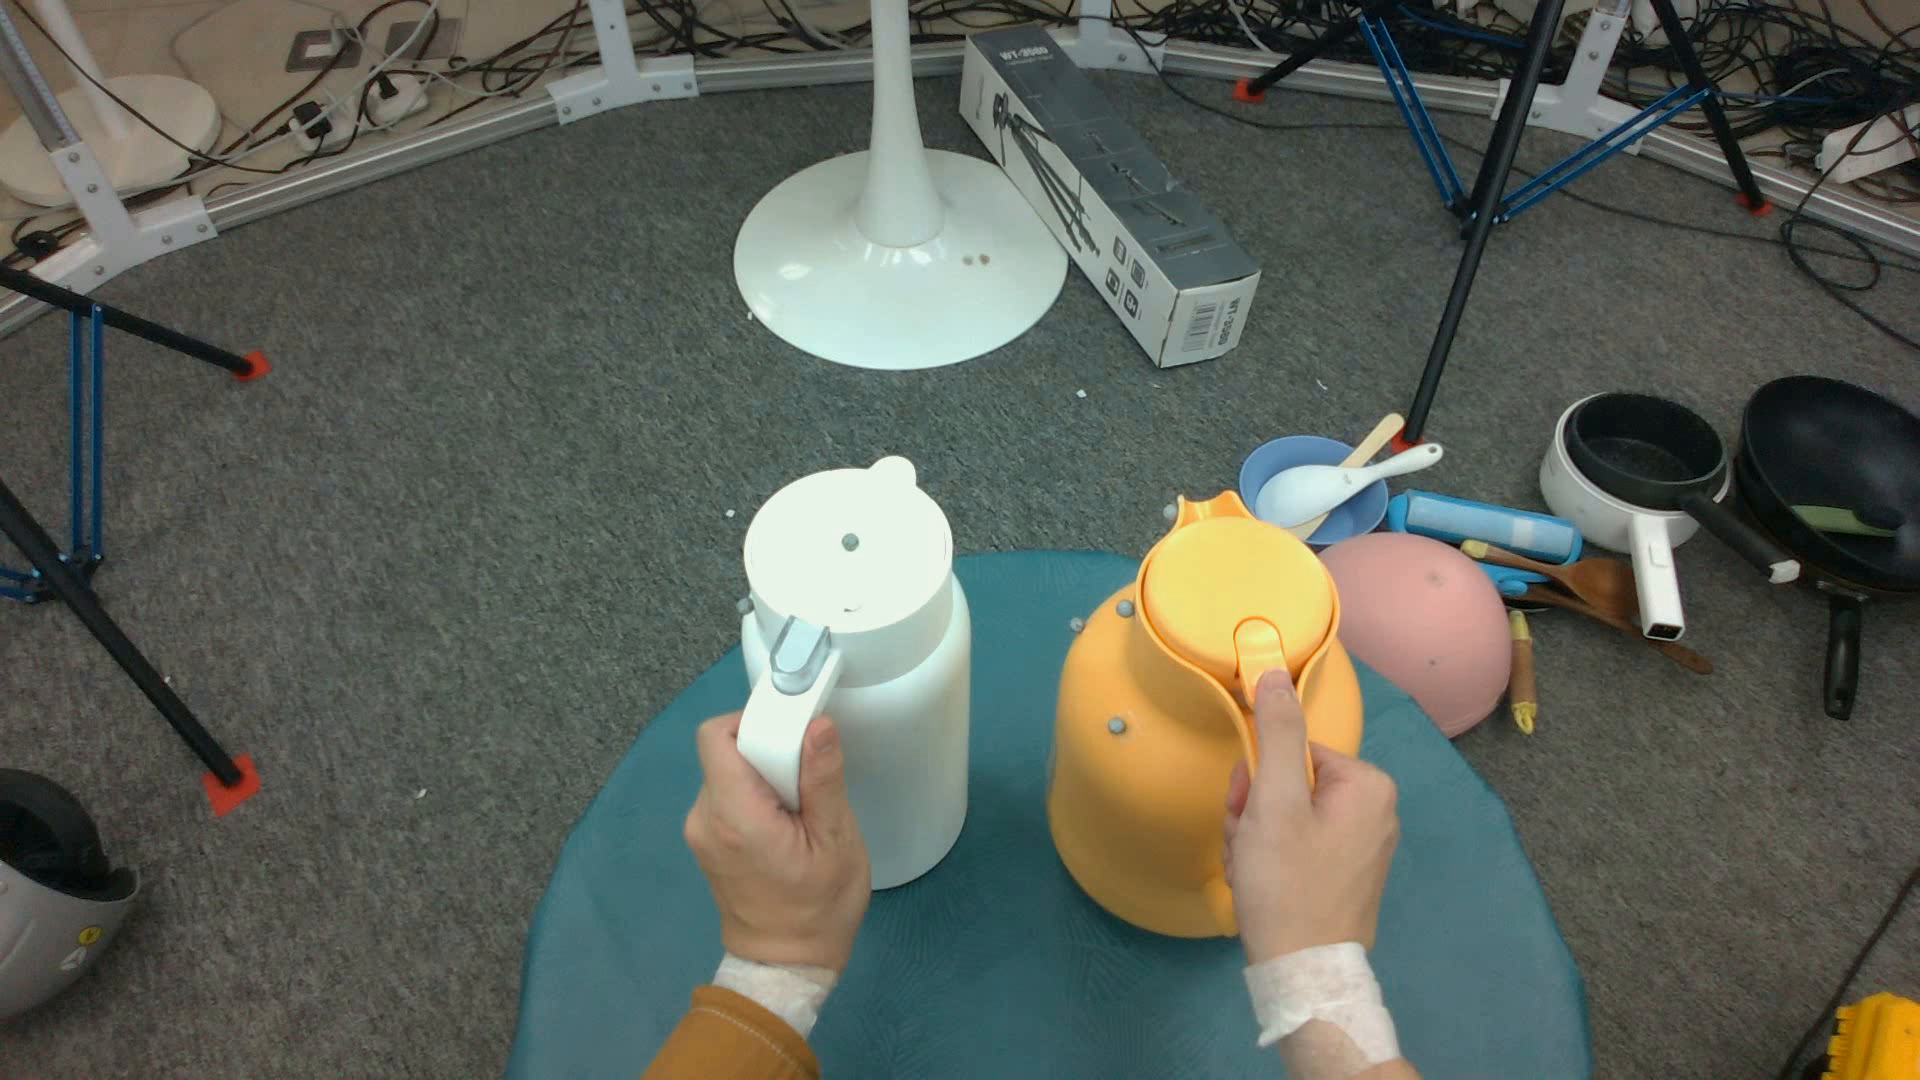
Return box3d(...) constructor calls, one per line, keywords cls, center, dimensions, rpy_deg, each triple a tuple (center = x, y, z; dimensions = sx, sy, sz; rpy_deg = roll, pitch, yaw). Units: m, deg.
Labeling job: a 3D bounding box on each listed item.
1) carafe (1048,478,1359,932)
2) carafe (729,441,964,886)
box3d(cls="carafe", center=(0.131, 0.108, 0.733), dimensions=(0.163, 0.259, 0.203), rpy_deg=(-5, 50, 0))
box3d(cls="carafe", center=(-0.062, 0.094, 0.738), dimensions=(0.124, 0.267, 0.173), rpy_deg=(16, 53, 9))
